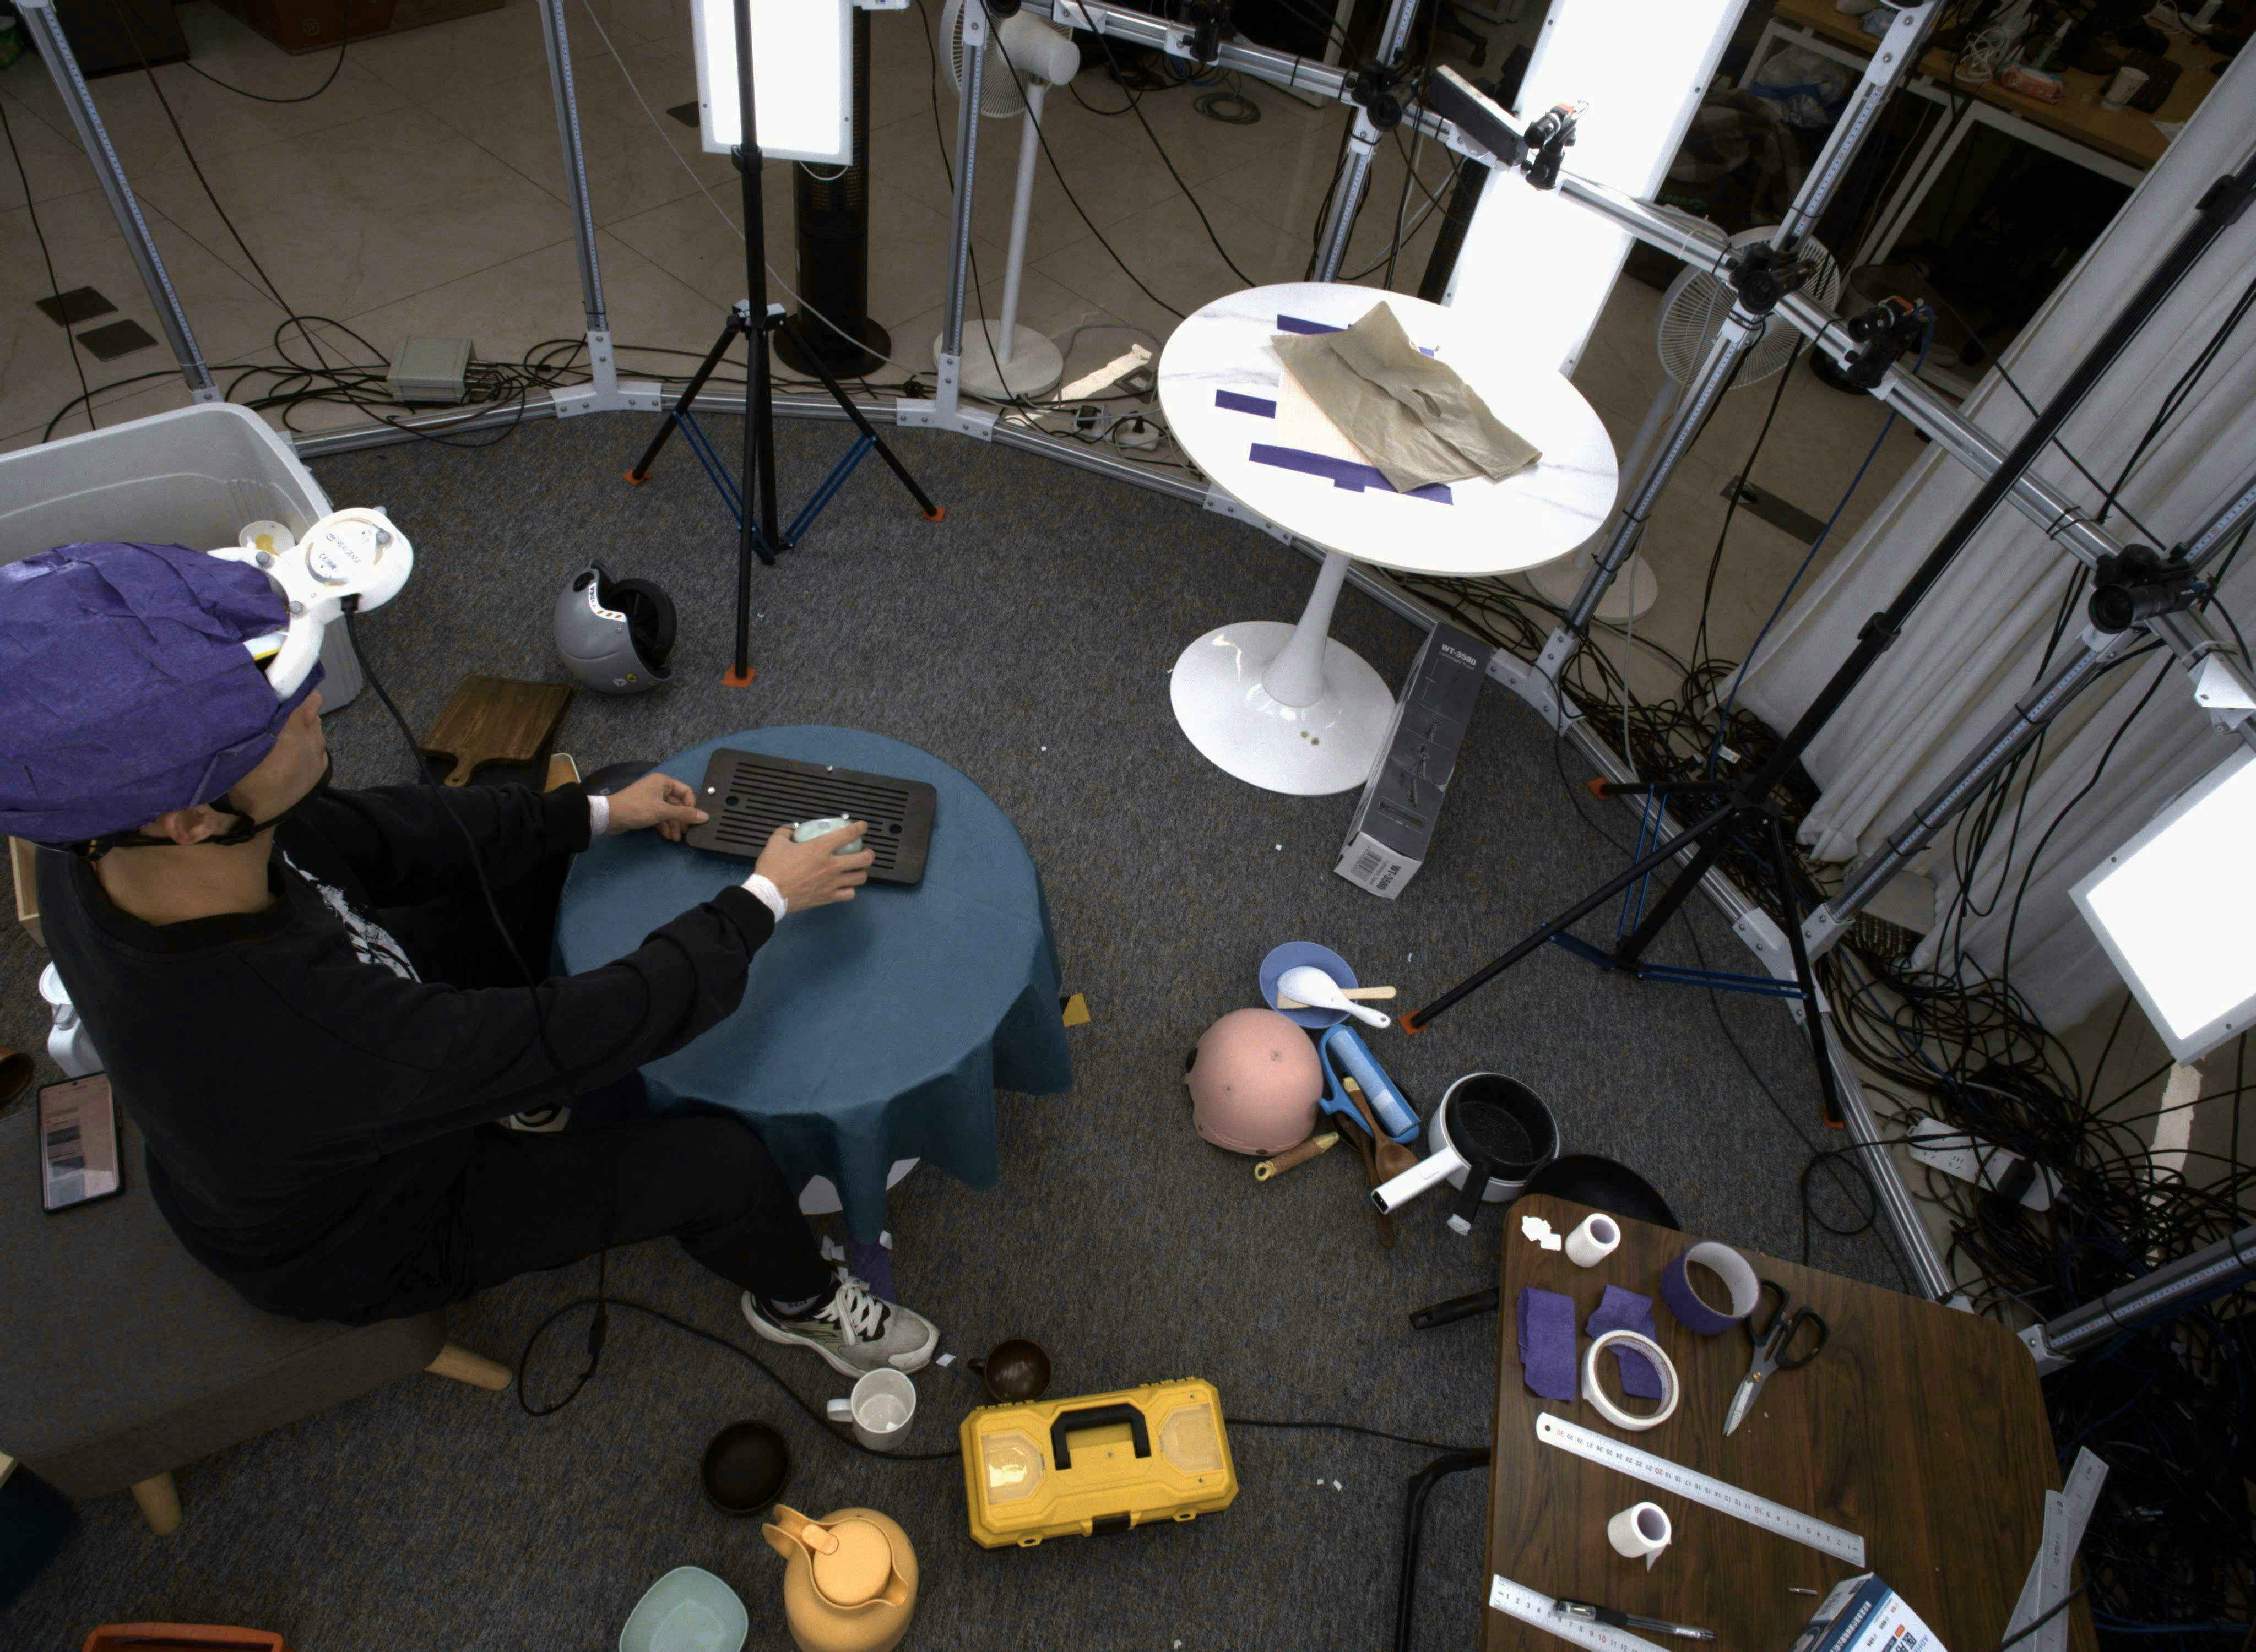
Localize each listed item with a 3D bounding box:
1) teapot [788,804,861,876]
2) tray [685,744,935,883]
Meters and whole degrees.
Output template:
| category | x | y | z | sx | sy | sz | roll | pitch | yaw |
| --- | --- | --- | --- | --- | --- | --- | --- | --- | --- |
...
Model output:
| category | x | y | z | sx | sy | sz | roll | pitch | yaw |
| --- | --- | --- | --- | --- | --- | --- | --- | --- | --- |
| teapot | -0.373 | 0.020 | 1.594 | 0.088 | 0.143 | 0.075 | -7 | 82 | -12 |
| tray | -0.415 | -0.016 | 1.715 | 0.306 | 0.019 | 0.167 | 10 | 52 | -11 |
